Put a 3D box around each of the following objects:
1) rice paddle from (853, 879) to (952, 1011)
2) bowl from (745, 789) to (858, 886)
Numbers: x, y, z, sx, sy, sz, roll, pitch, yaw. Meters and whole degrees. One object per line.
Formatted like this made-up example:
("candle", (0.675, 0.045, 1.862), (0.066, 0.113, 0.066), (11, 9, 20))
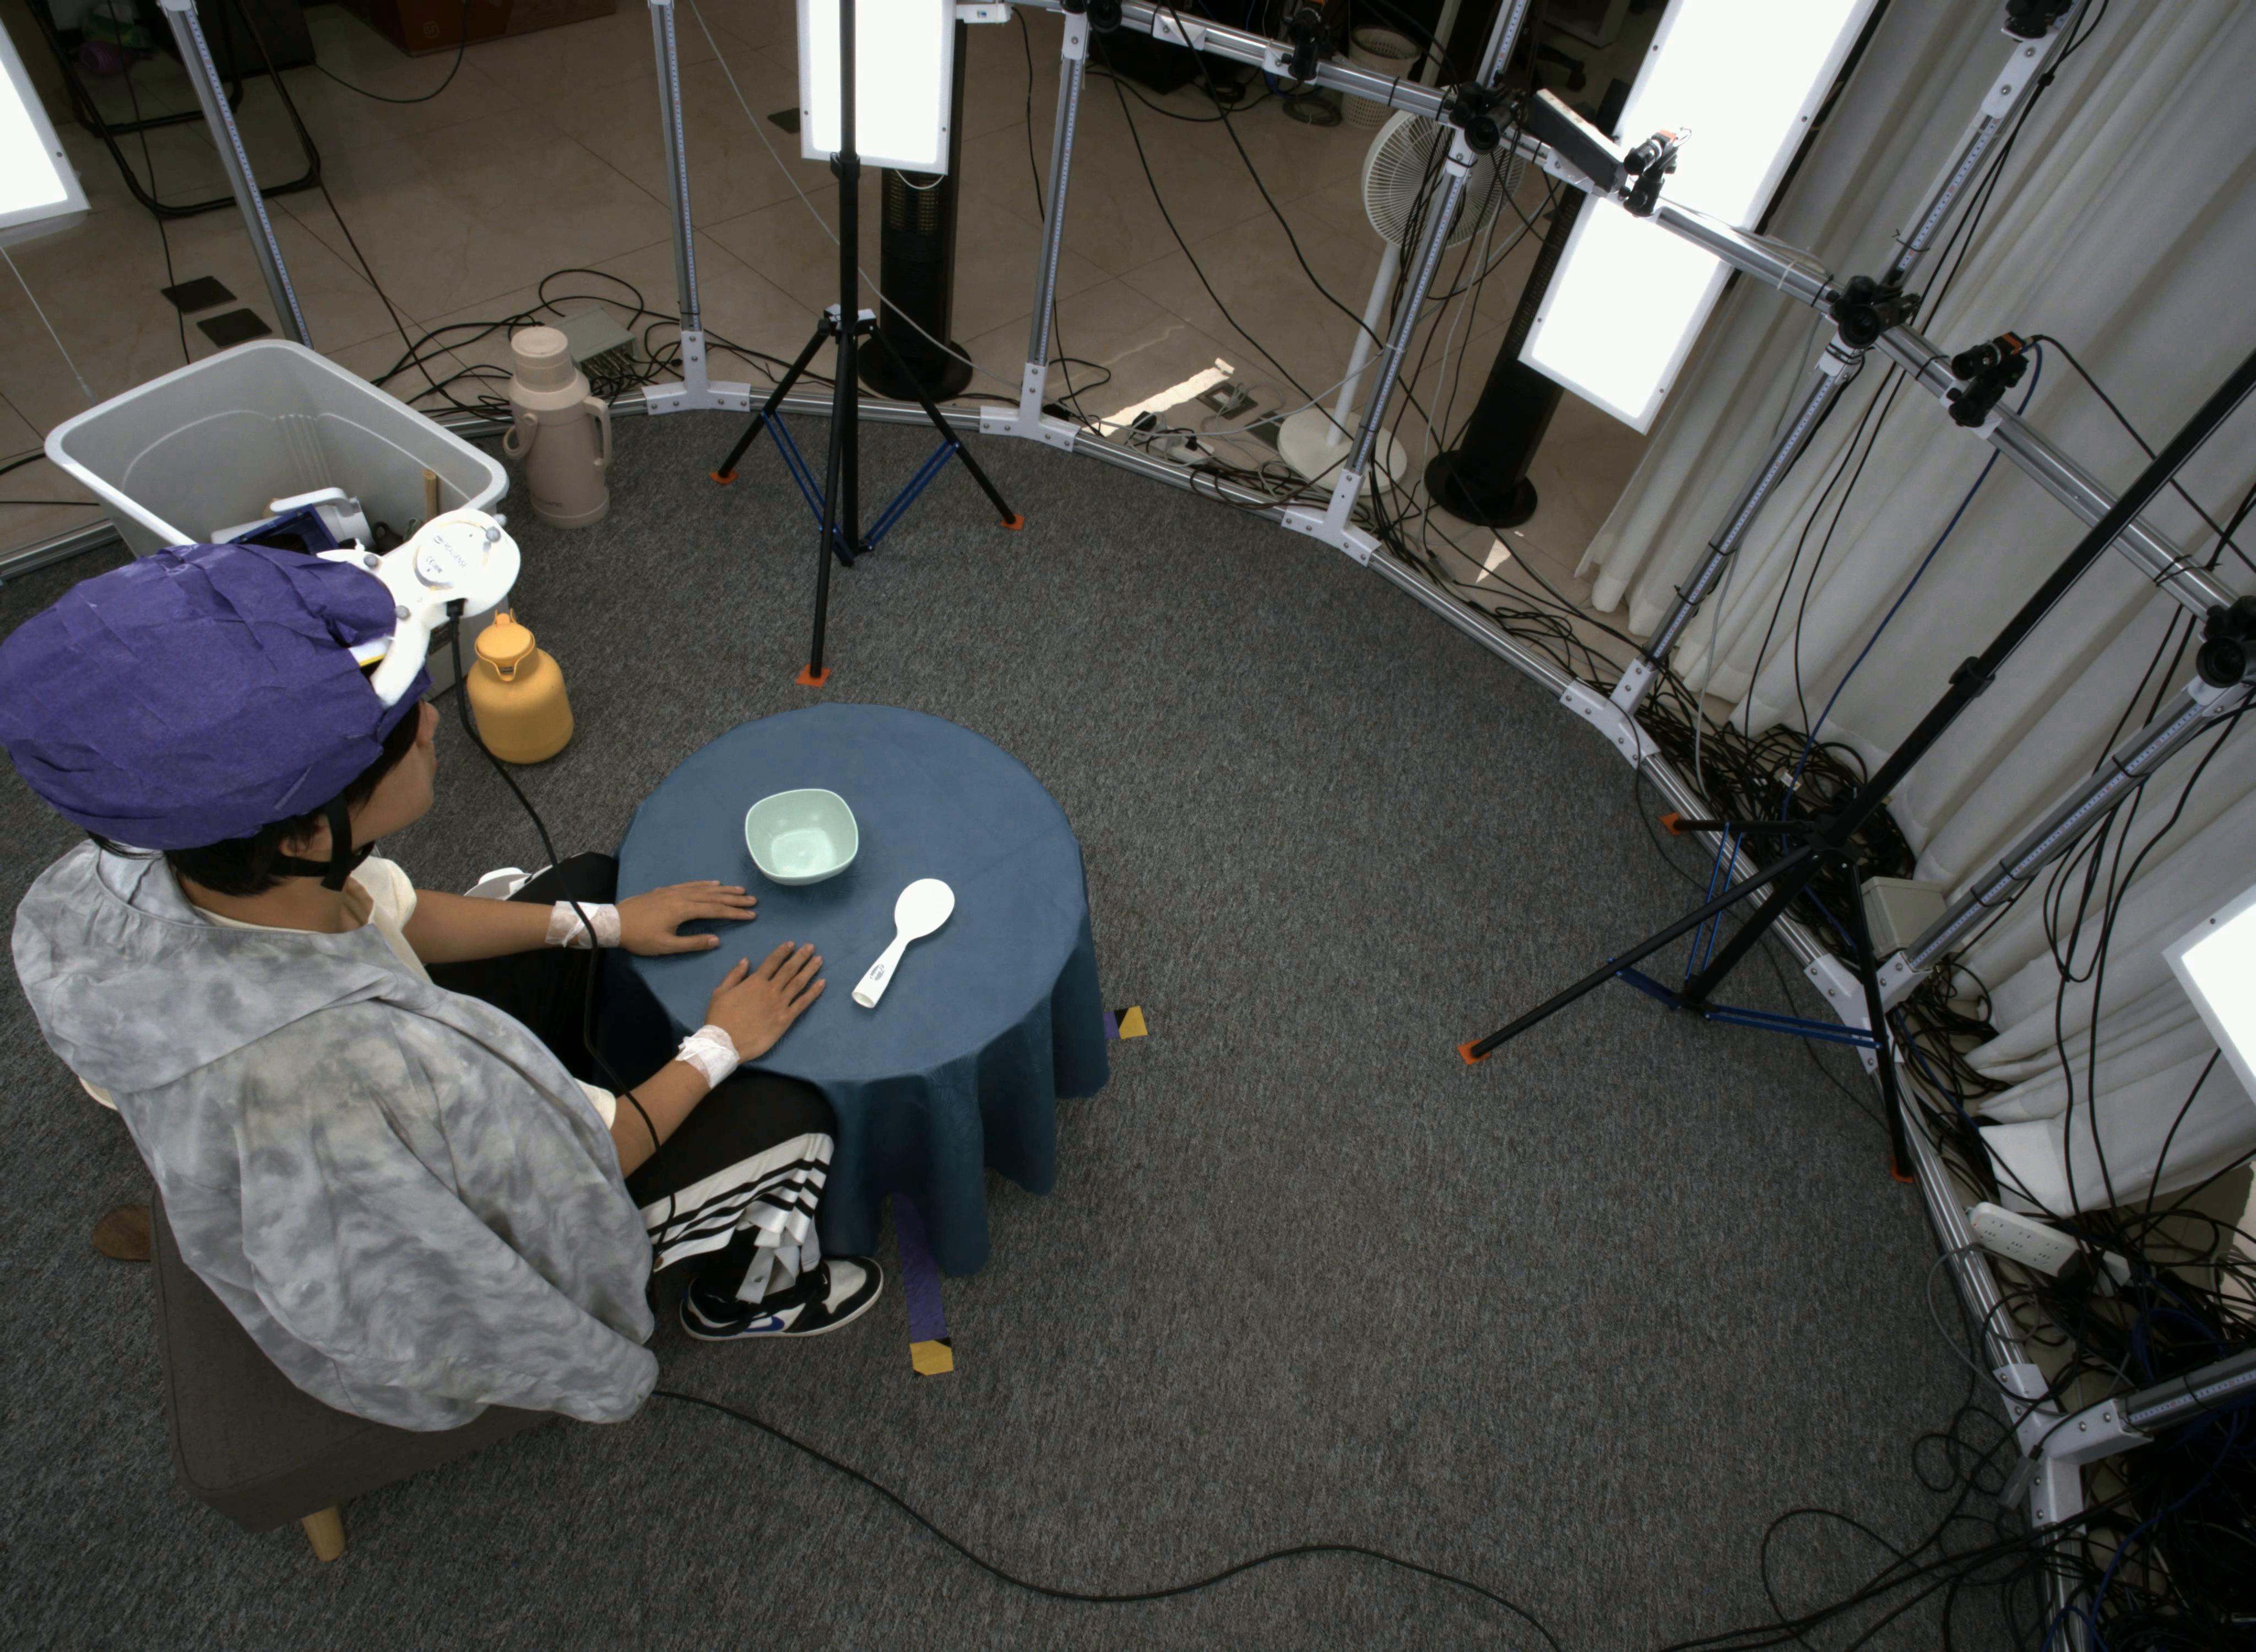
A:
("rice paddle", (-0.284, 0.140, 1.637), (0.068, 0.030, 0.204), (25, 52, 3))
("bowl", (-0.420, 0.024, 1.673), (0.151, 0.060, 0.149), (9, 52, -10))
